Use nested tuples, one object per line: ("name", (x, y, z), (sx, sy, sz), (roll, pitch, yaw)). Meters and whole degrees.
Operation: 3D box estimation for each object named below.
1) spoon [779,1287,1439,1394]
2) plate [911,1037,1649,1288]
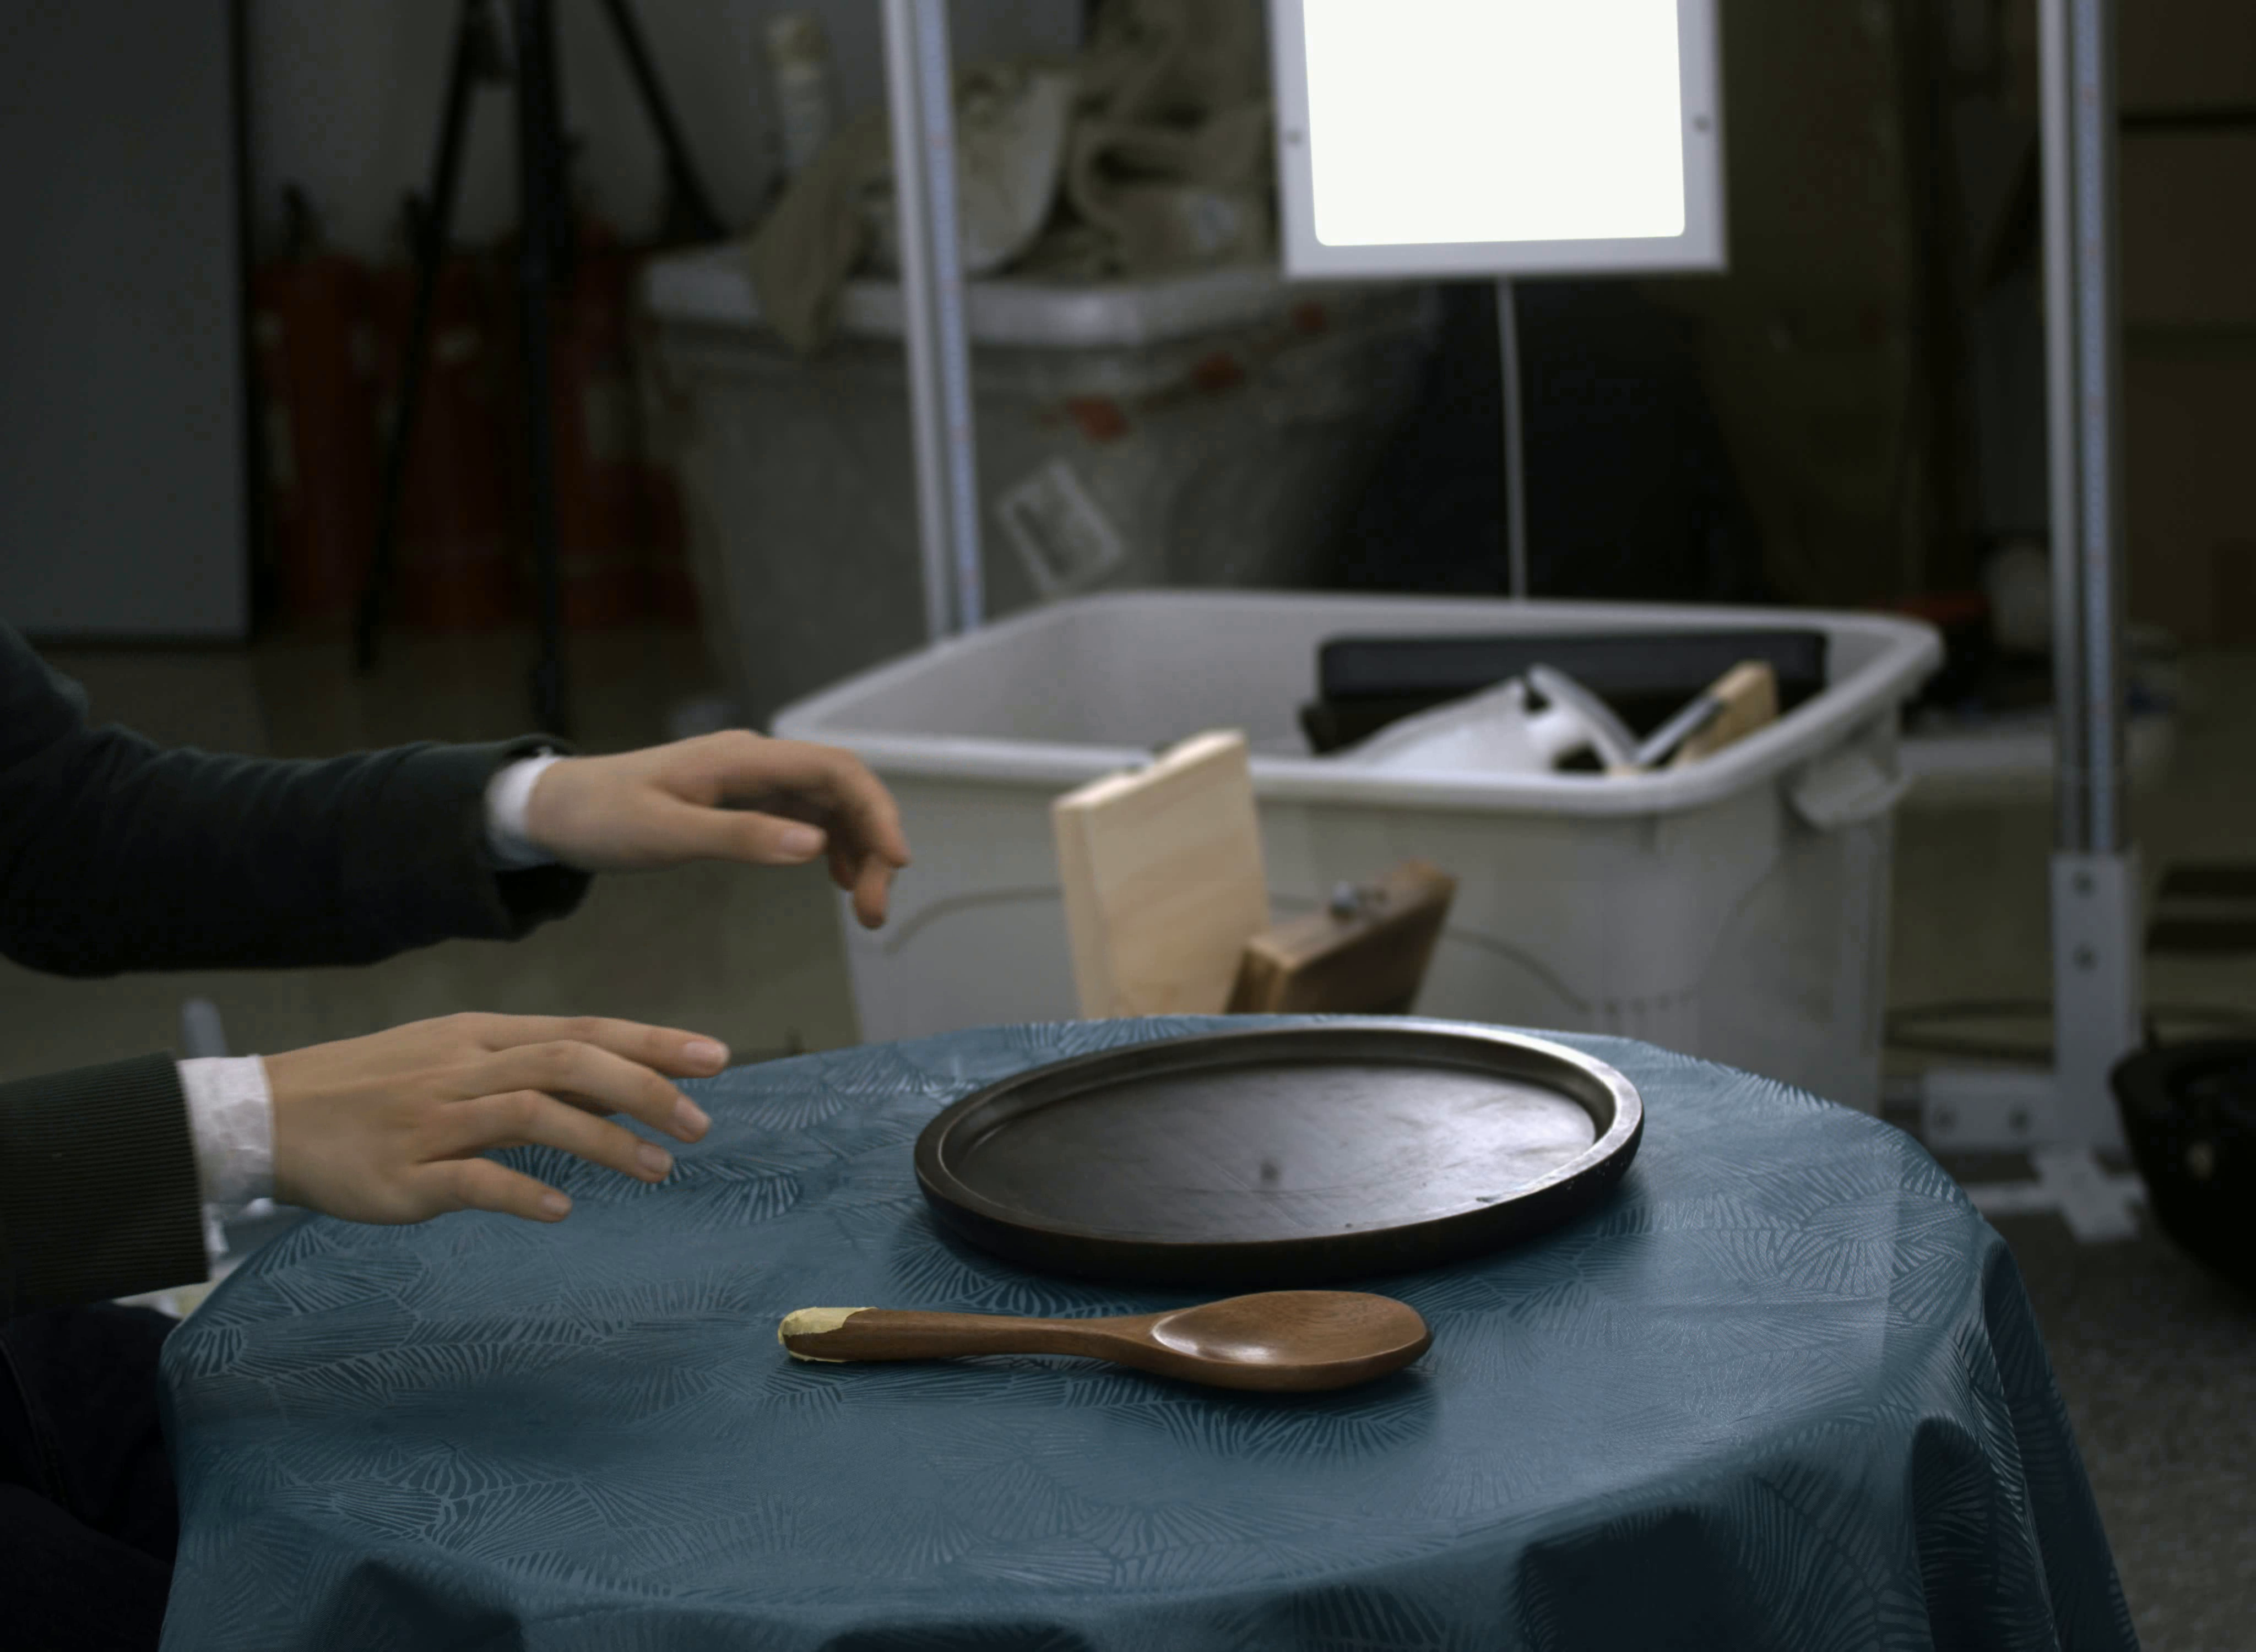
("spoon", (-0.007, 0.161, 1.724), (0.218, 0.017, 0.074), (0, 15, 20))
("plate", (0.053, 0.113, 1.890), (0.254, 0.029, 0.254), (-4, 13, -1))
